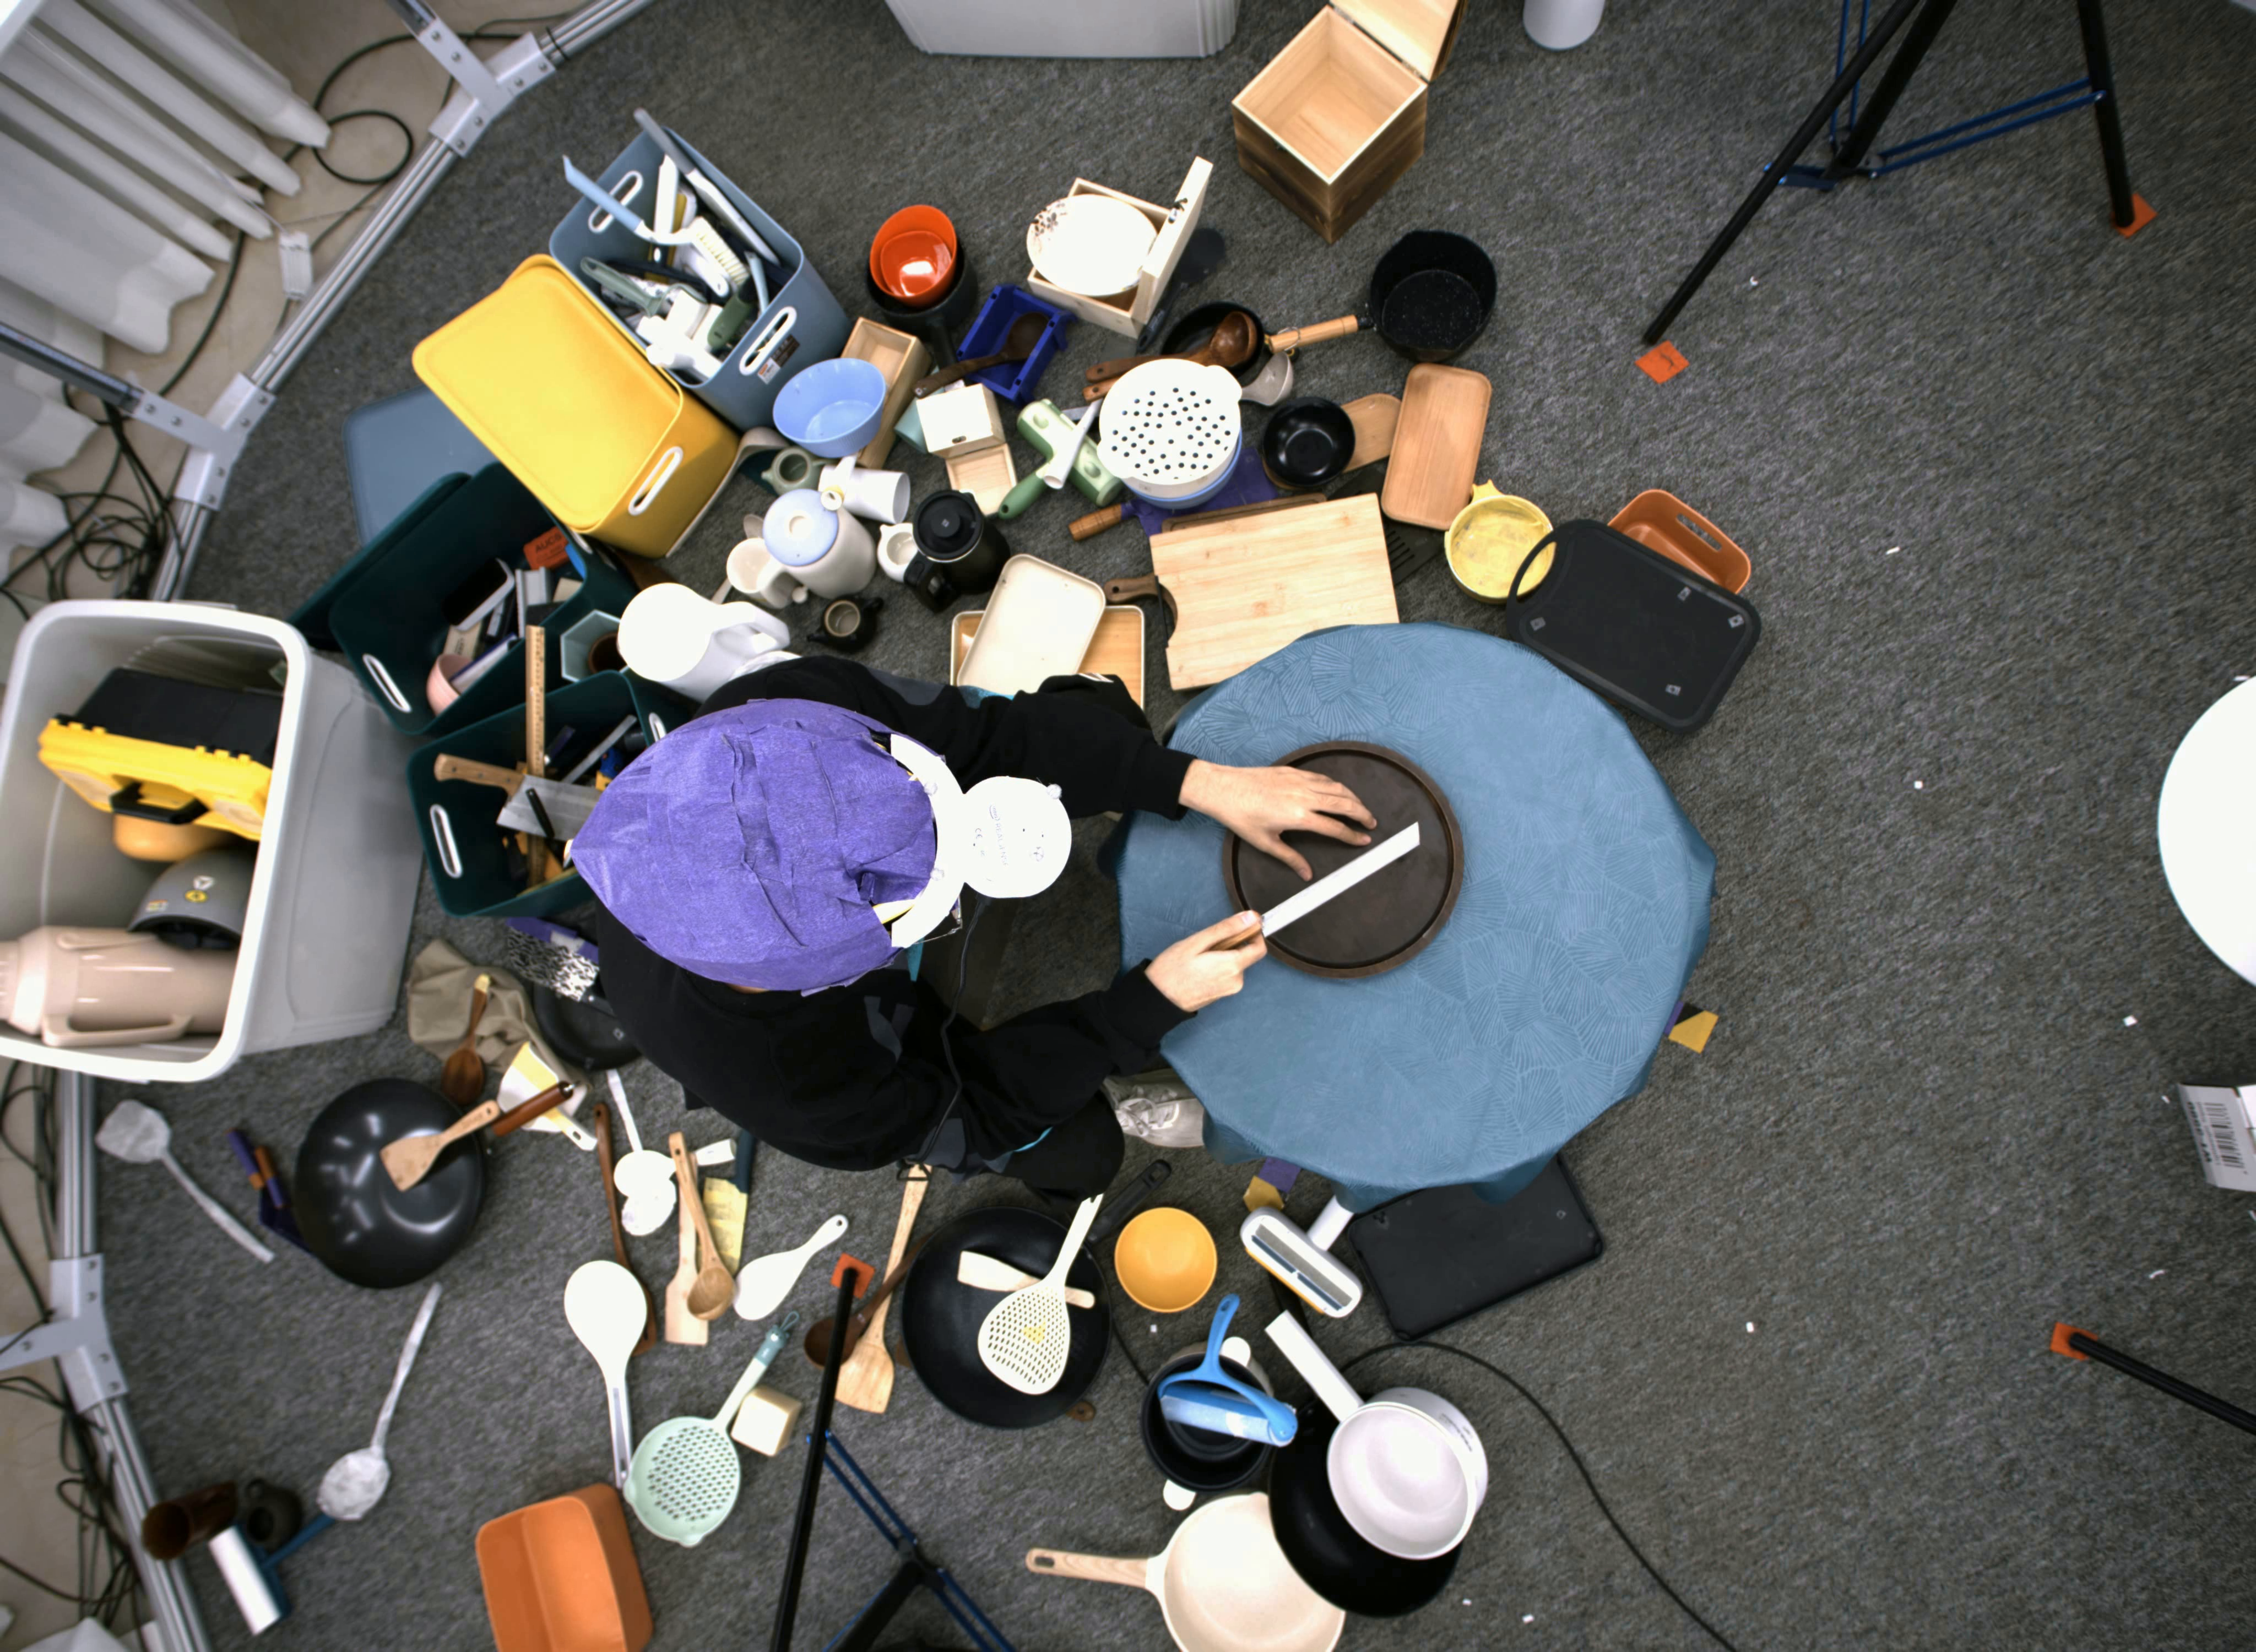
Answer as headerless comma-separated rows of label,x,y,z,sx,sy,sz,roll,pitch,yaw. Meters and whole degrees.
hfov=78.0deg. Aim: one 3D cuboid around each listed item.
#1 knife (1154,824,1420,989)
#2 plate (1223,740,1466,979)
knife,0.166,0.085,1.413,0.307,0.093,0.021,-31,71,5
plate,0.227,0.034,1.457,0.256,0.029,0.254,-1,88,9
